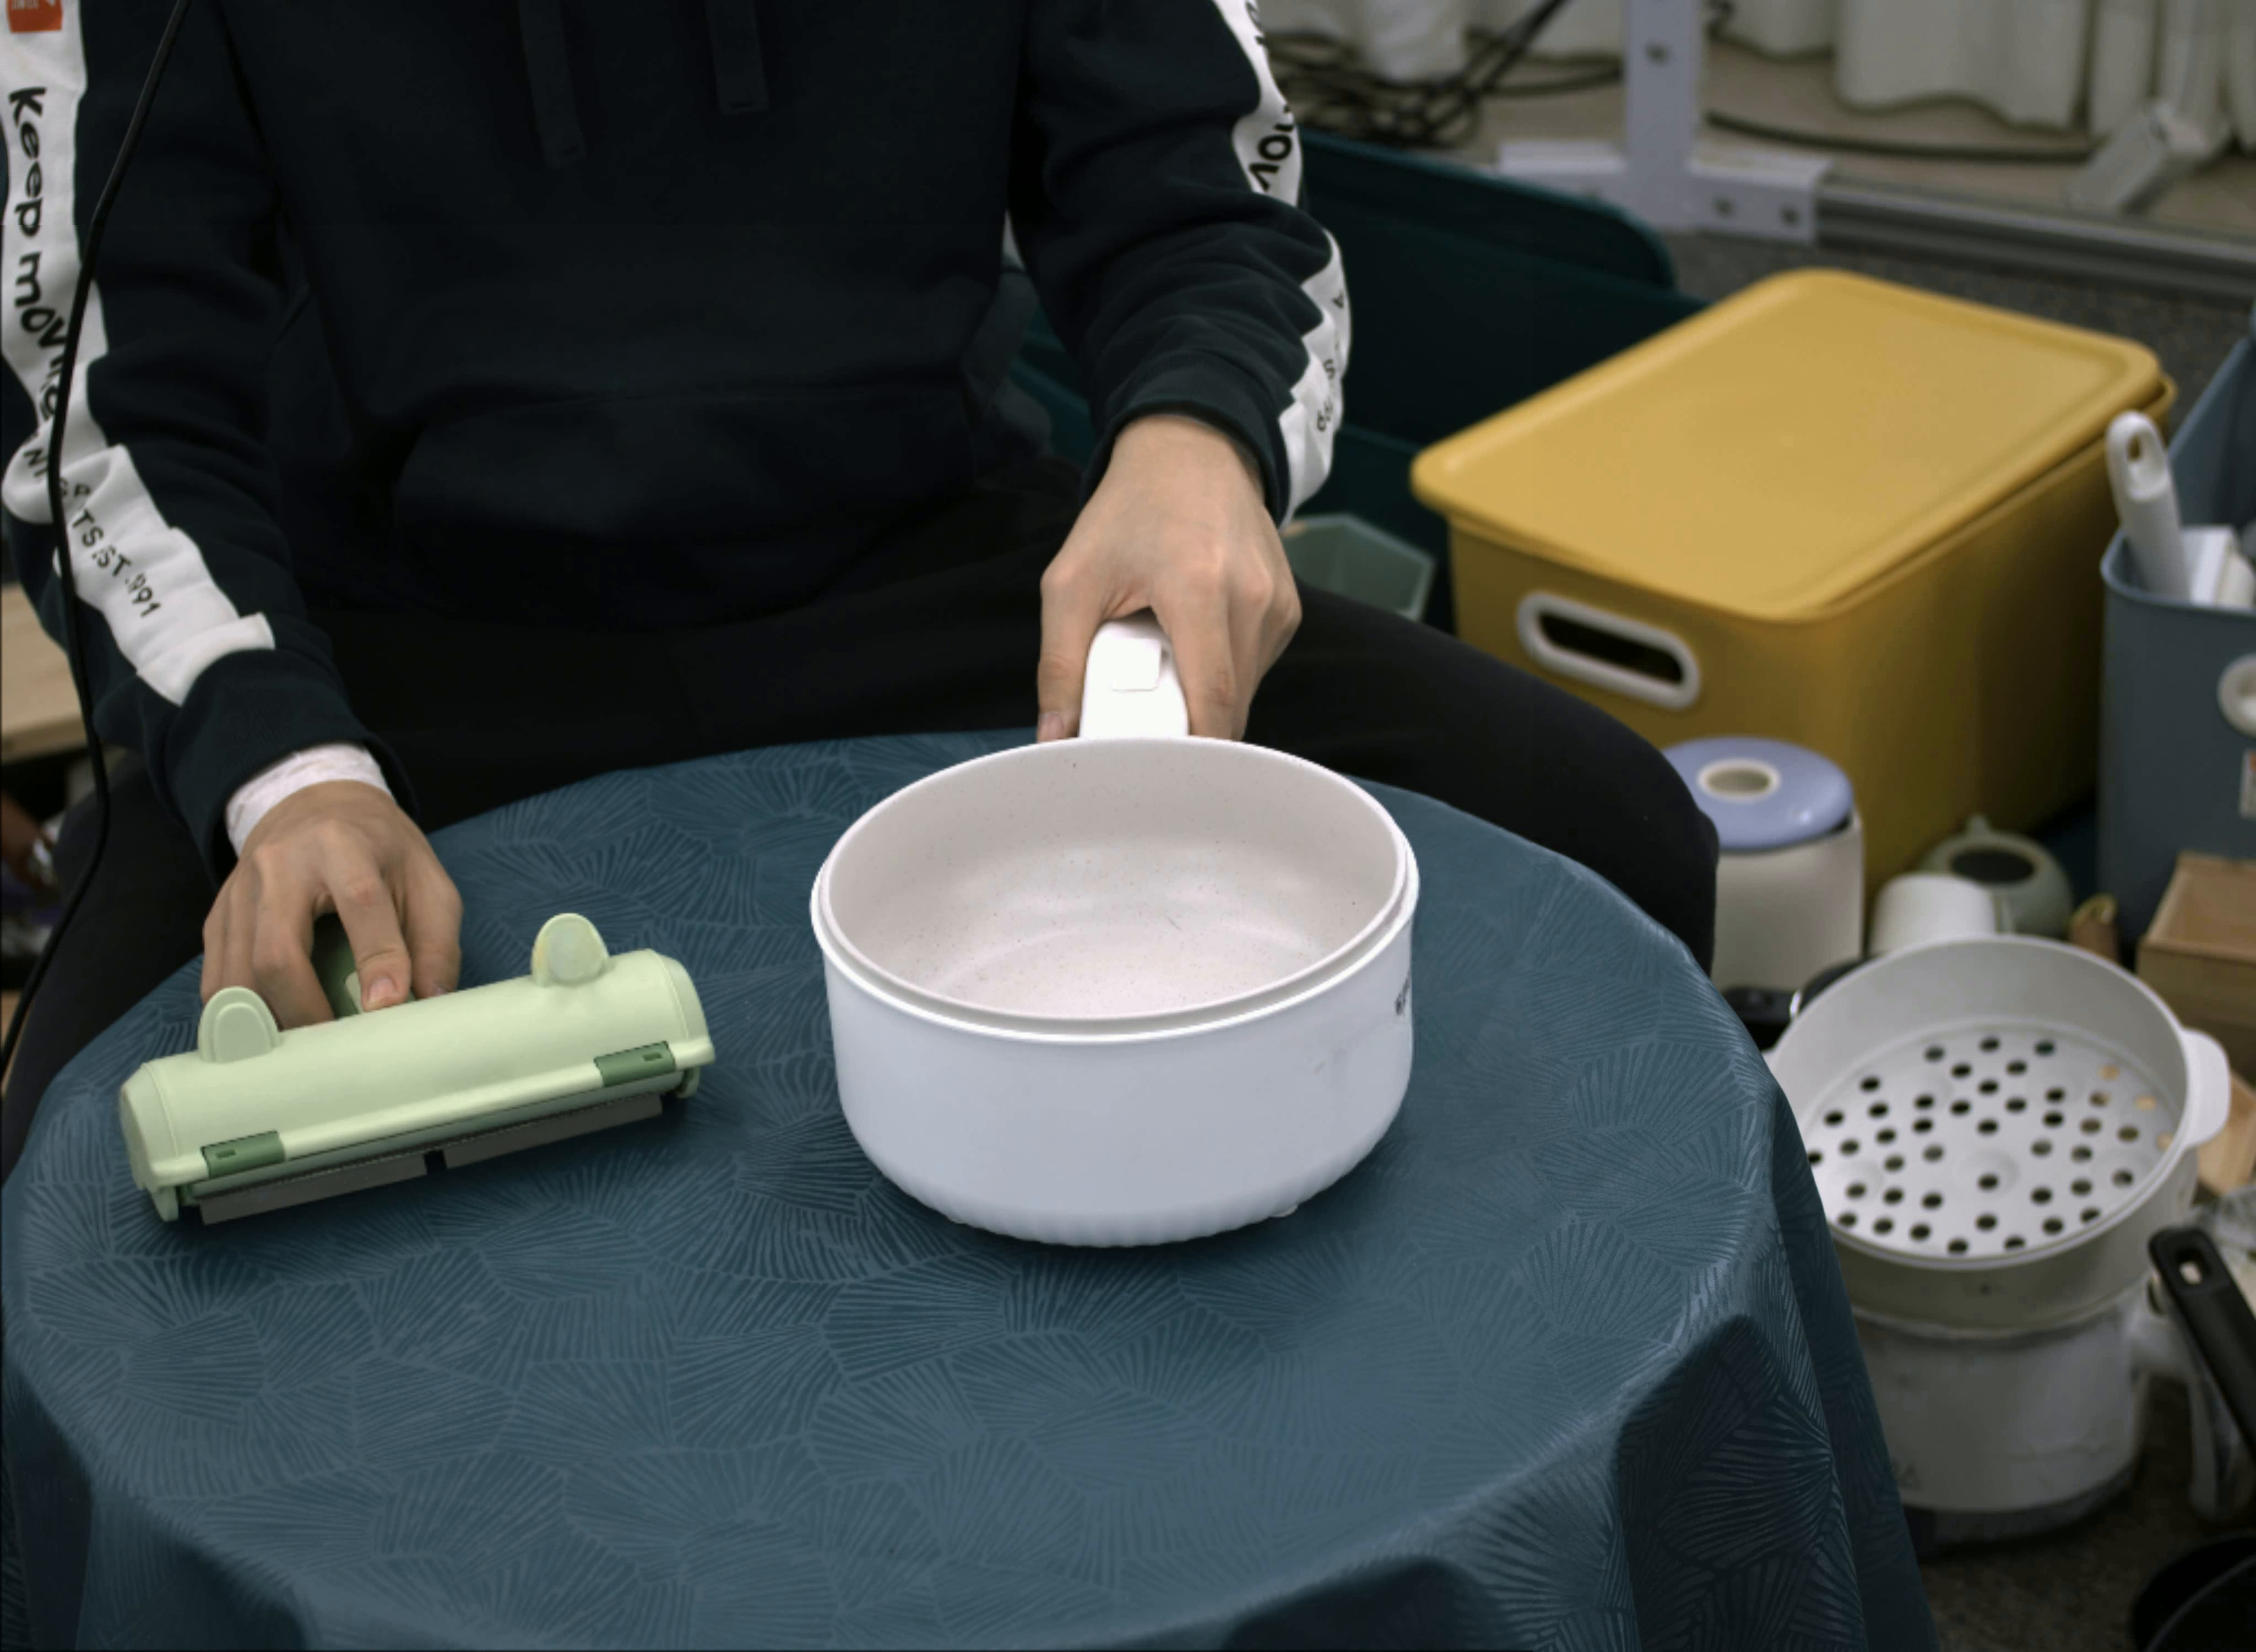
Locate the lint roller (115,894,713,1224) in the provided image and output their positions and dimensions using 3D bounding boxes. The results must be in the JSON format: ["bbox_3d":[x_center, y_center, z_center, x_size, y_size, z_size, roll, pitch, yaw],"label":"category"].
[{"bbox_3d":[-0.261,0.053,1.930,0.199,0.081,0.185,-13,36,-19],"label":"lint roller"}]

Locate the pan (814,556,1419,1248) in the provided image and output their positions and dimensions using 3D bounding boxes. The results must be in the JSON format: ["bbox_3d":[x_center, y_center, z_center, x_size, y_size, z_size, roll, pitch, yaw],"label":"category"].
[{"bbox_3d":[0.004,0.023,1.943,0.200,0.101,0.360,-1,27,5],"label":"pan"}]
